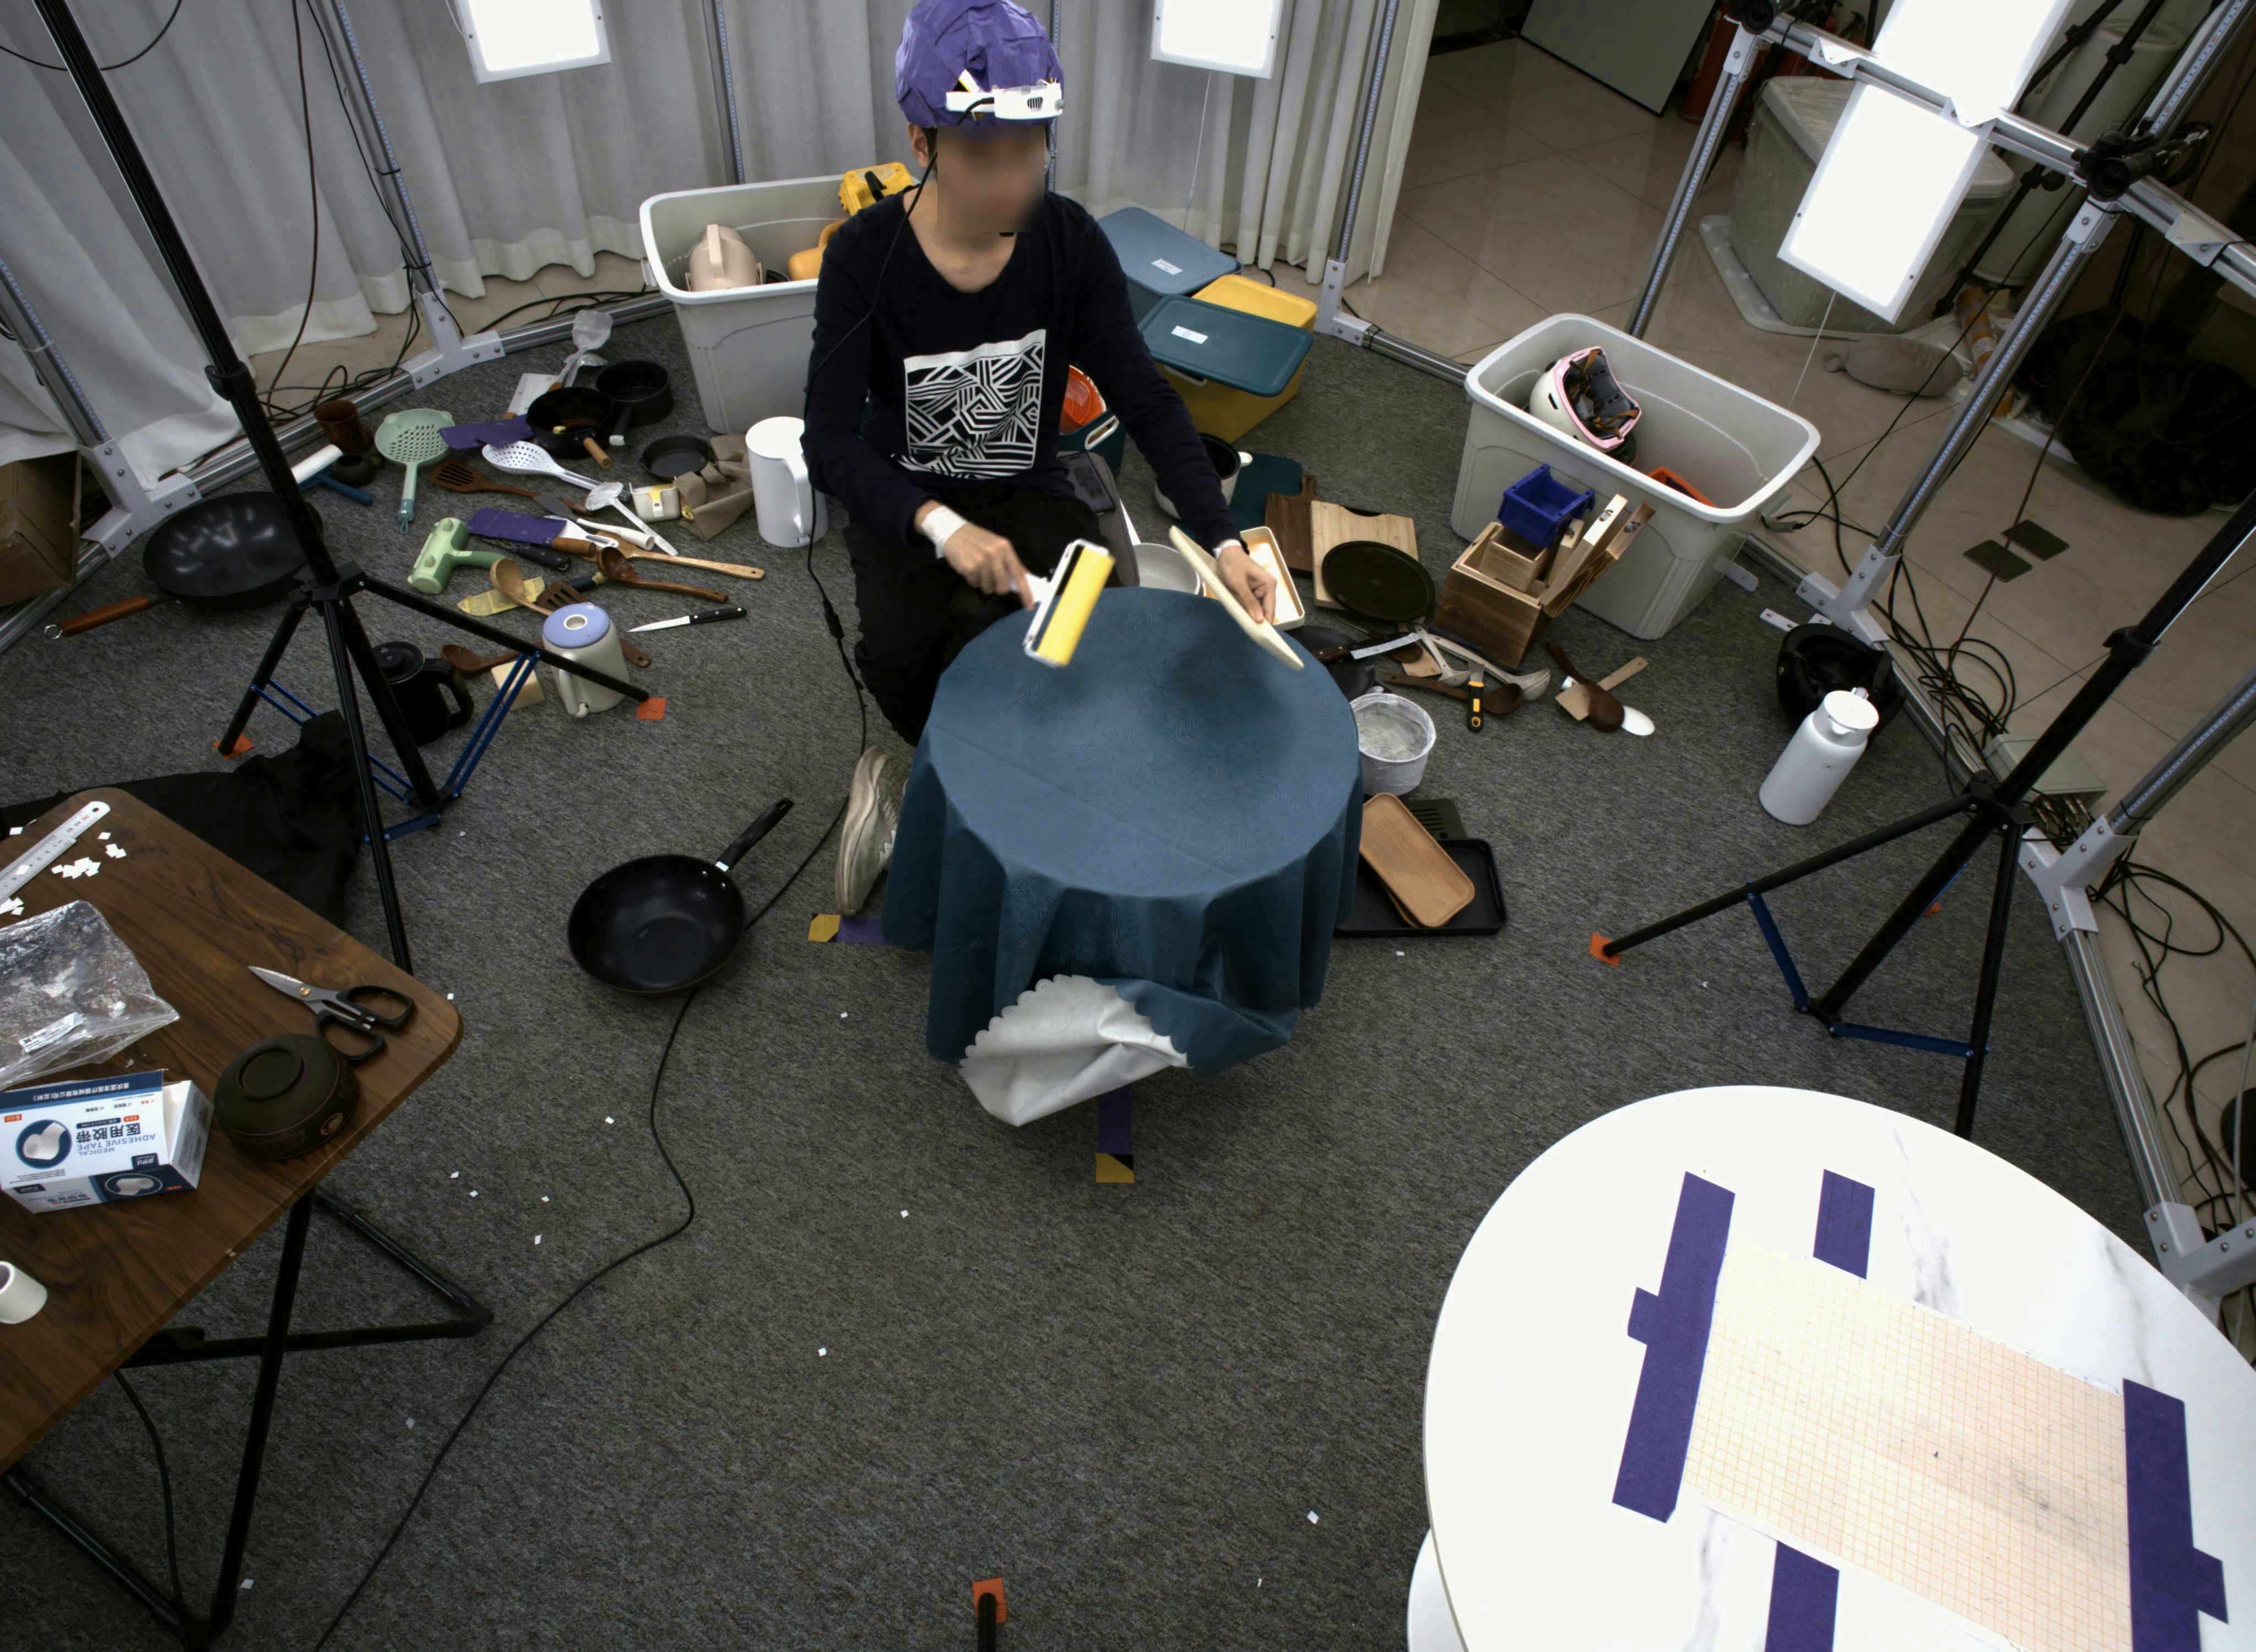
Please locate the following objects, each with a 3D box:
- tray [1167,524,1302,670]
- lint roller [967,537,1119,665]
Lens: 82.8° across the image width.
[{"bbox_3d":[0.145,-0.314,1.780,0.017,0.169,0.244,-43,60,16],"label":"tray"},{"bbox_3d":[-0.131,-0.335,1.781,0.191,0.051,0.174,22,89,-6],"label":"lint roller"}]
